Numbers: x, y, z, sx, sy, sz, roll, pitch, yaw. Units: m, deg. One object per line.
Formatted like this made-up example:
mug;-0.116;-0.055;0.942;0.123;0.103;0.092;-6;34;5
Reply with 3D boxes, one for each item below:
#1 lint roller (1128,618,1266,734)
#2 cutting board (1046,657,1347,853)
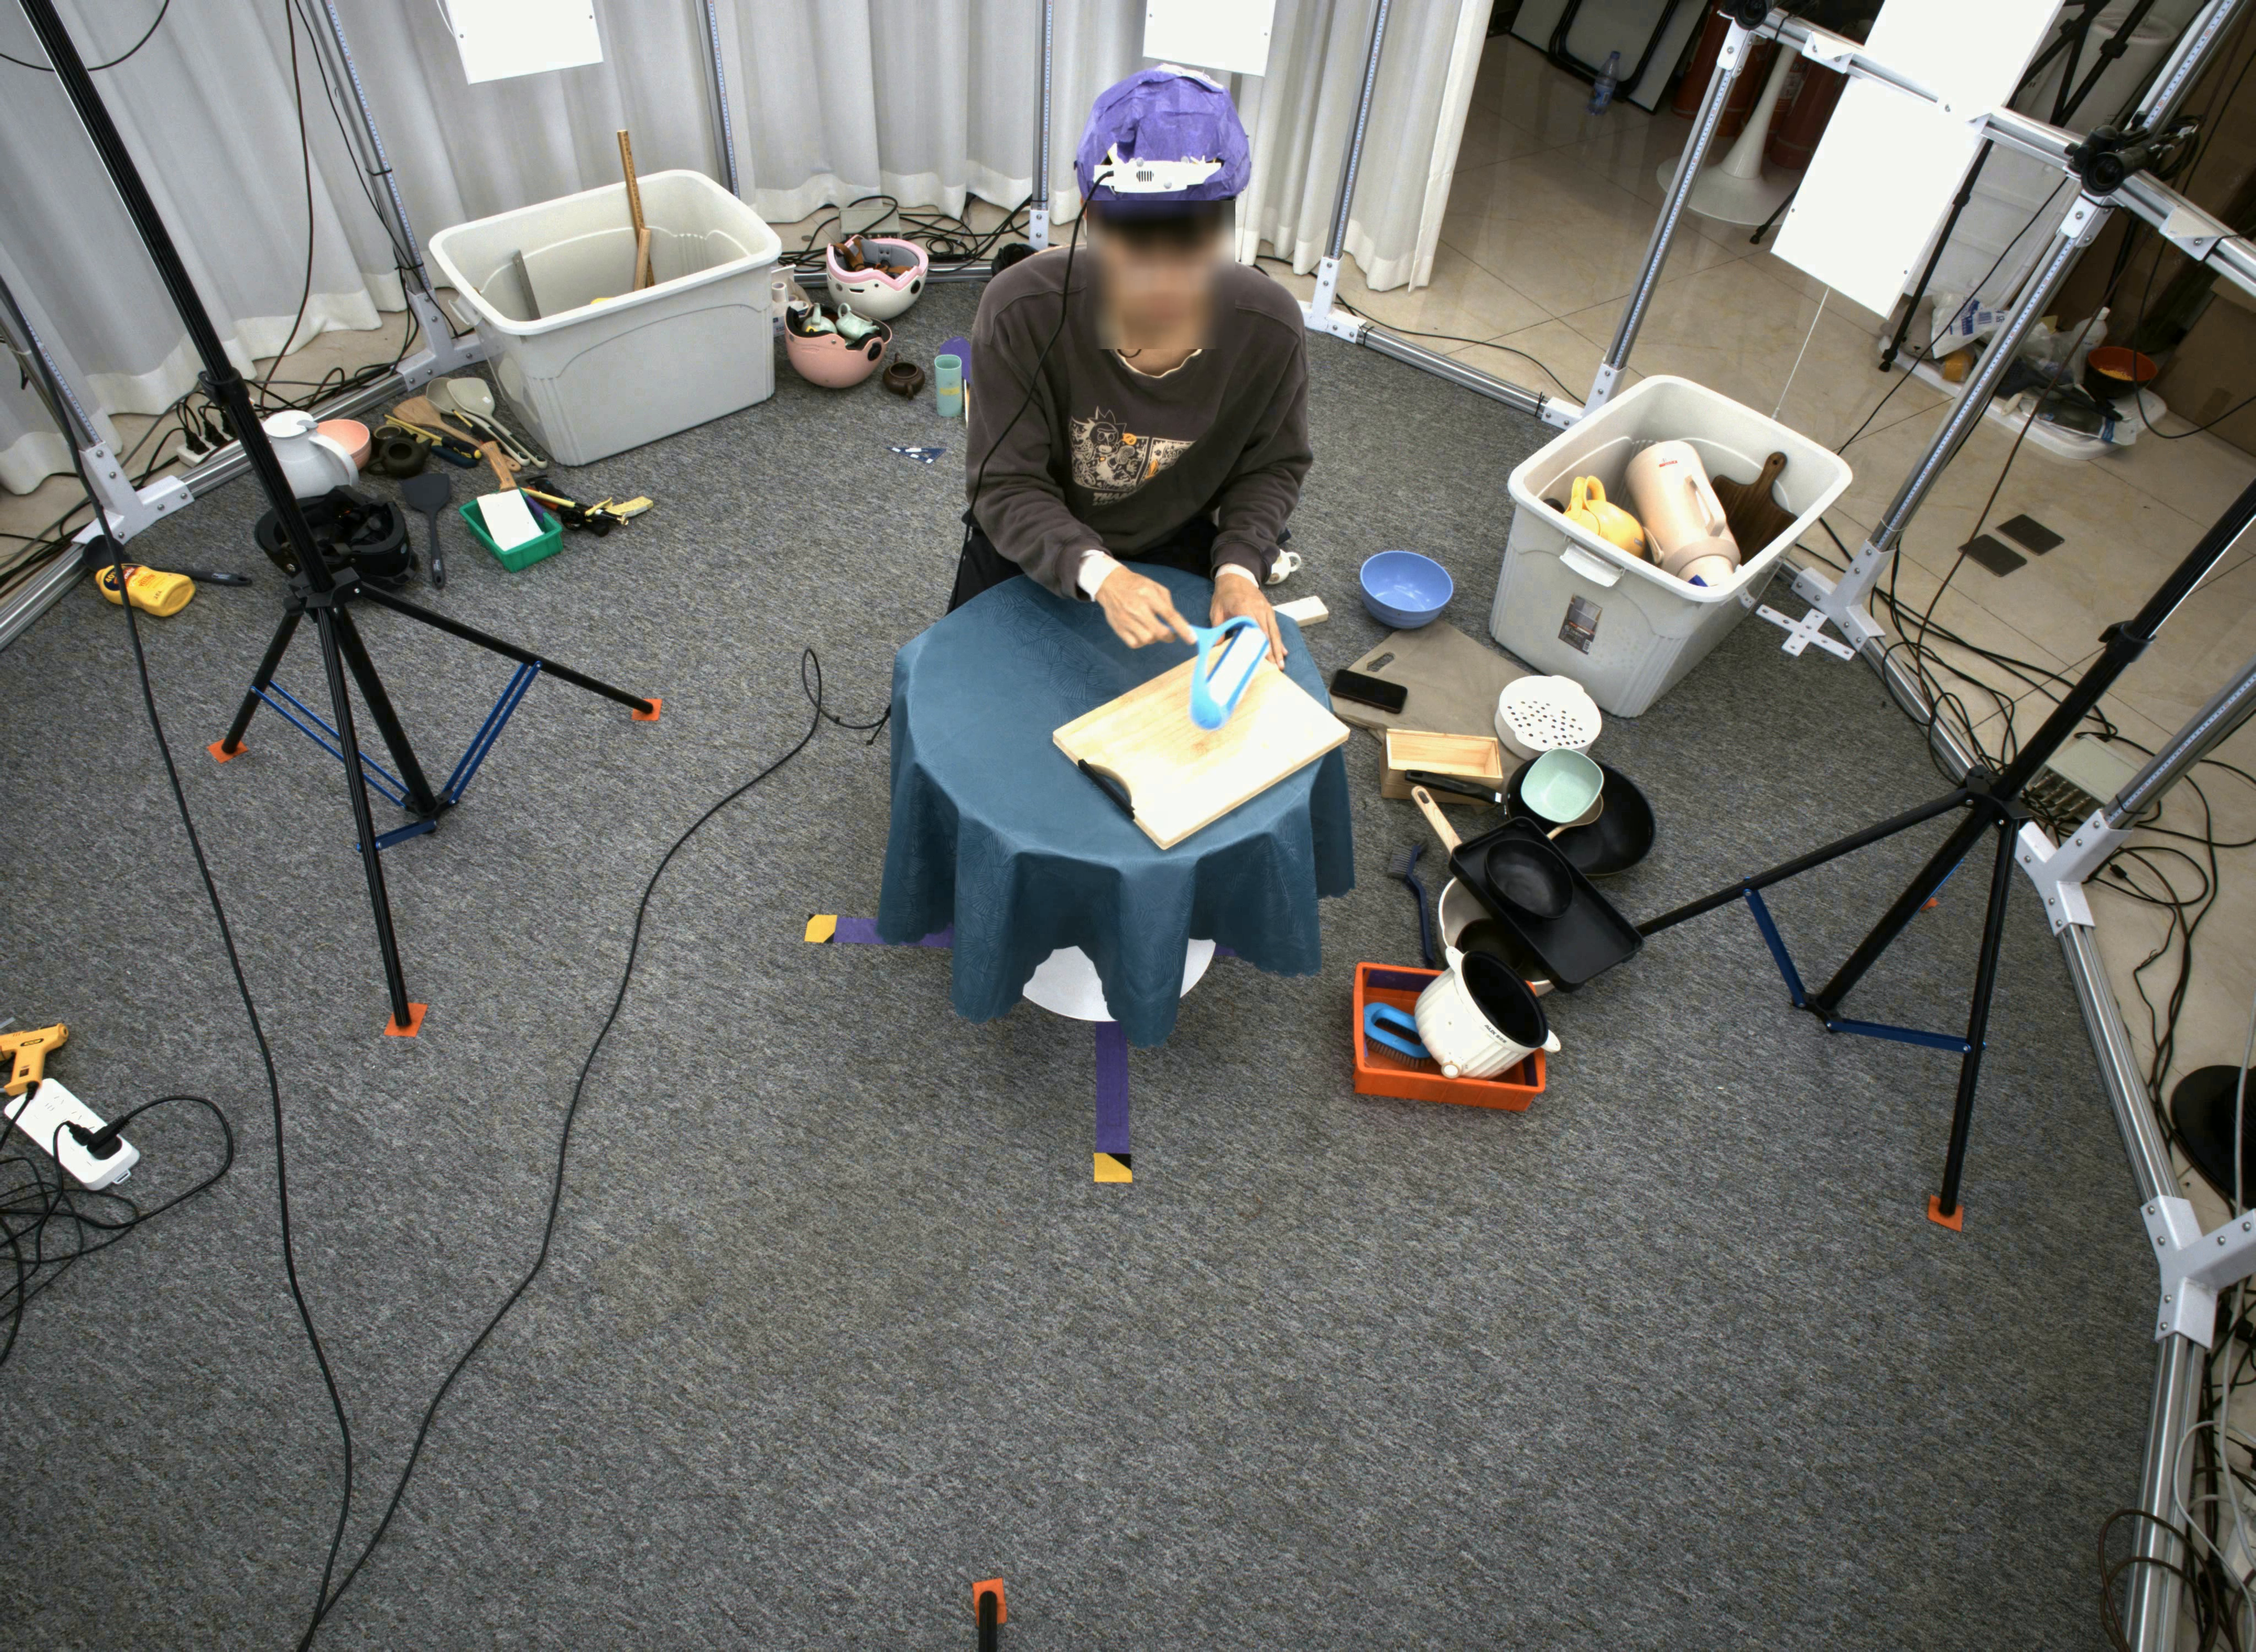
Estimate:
lint roller;0.085;-0.234;1.740;0.180;0.067;0.233;35;45;-4
cutting board;0.097;-0.122;1.767;0.351;0.023;0.255;-30;57;-26
